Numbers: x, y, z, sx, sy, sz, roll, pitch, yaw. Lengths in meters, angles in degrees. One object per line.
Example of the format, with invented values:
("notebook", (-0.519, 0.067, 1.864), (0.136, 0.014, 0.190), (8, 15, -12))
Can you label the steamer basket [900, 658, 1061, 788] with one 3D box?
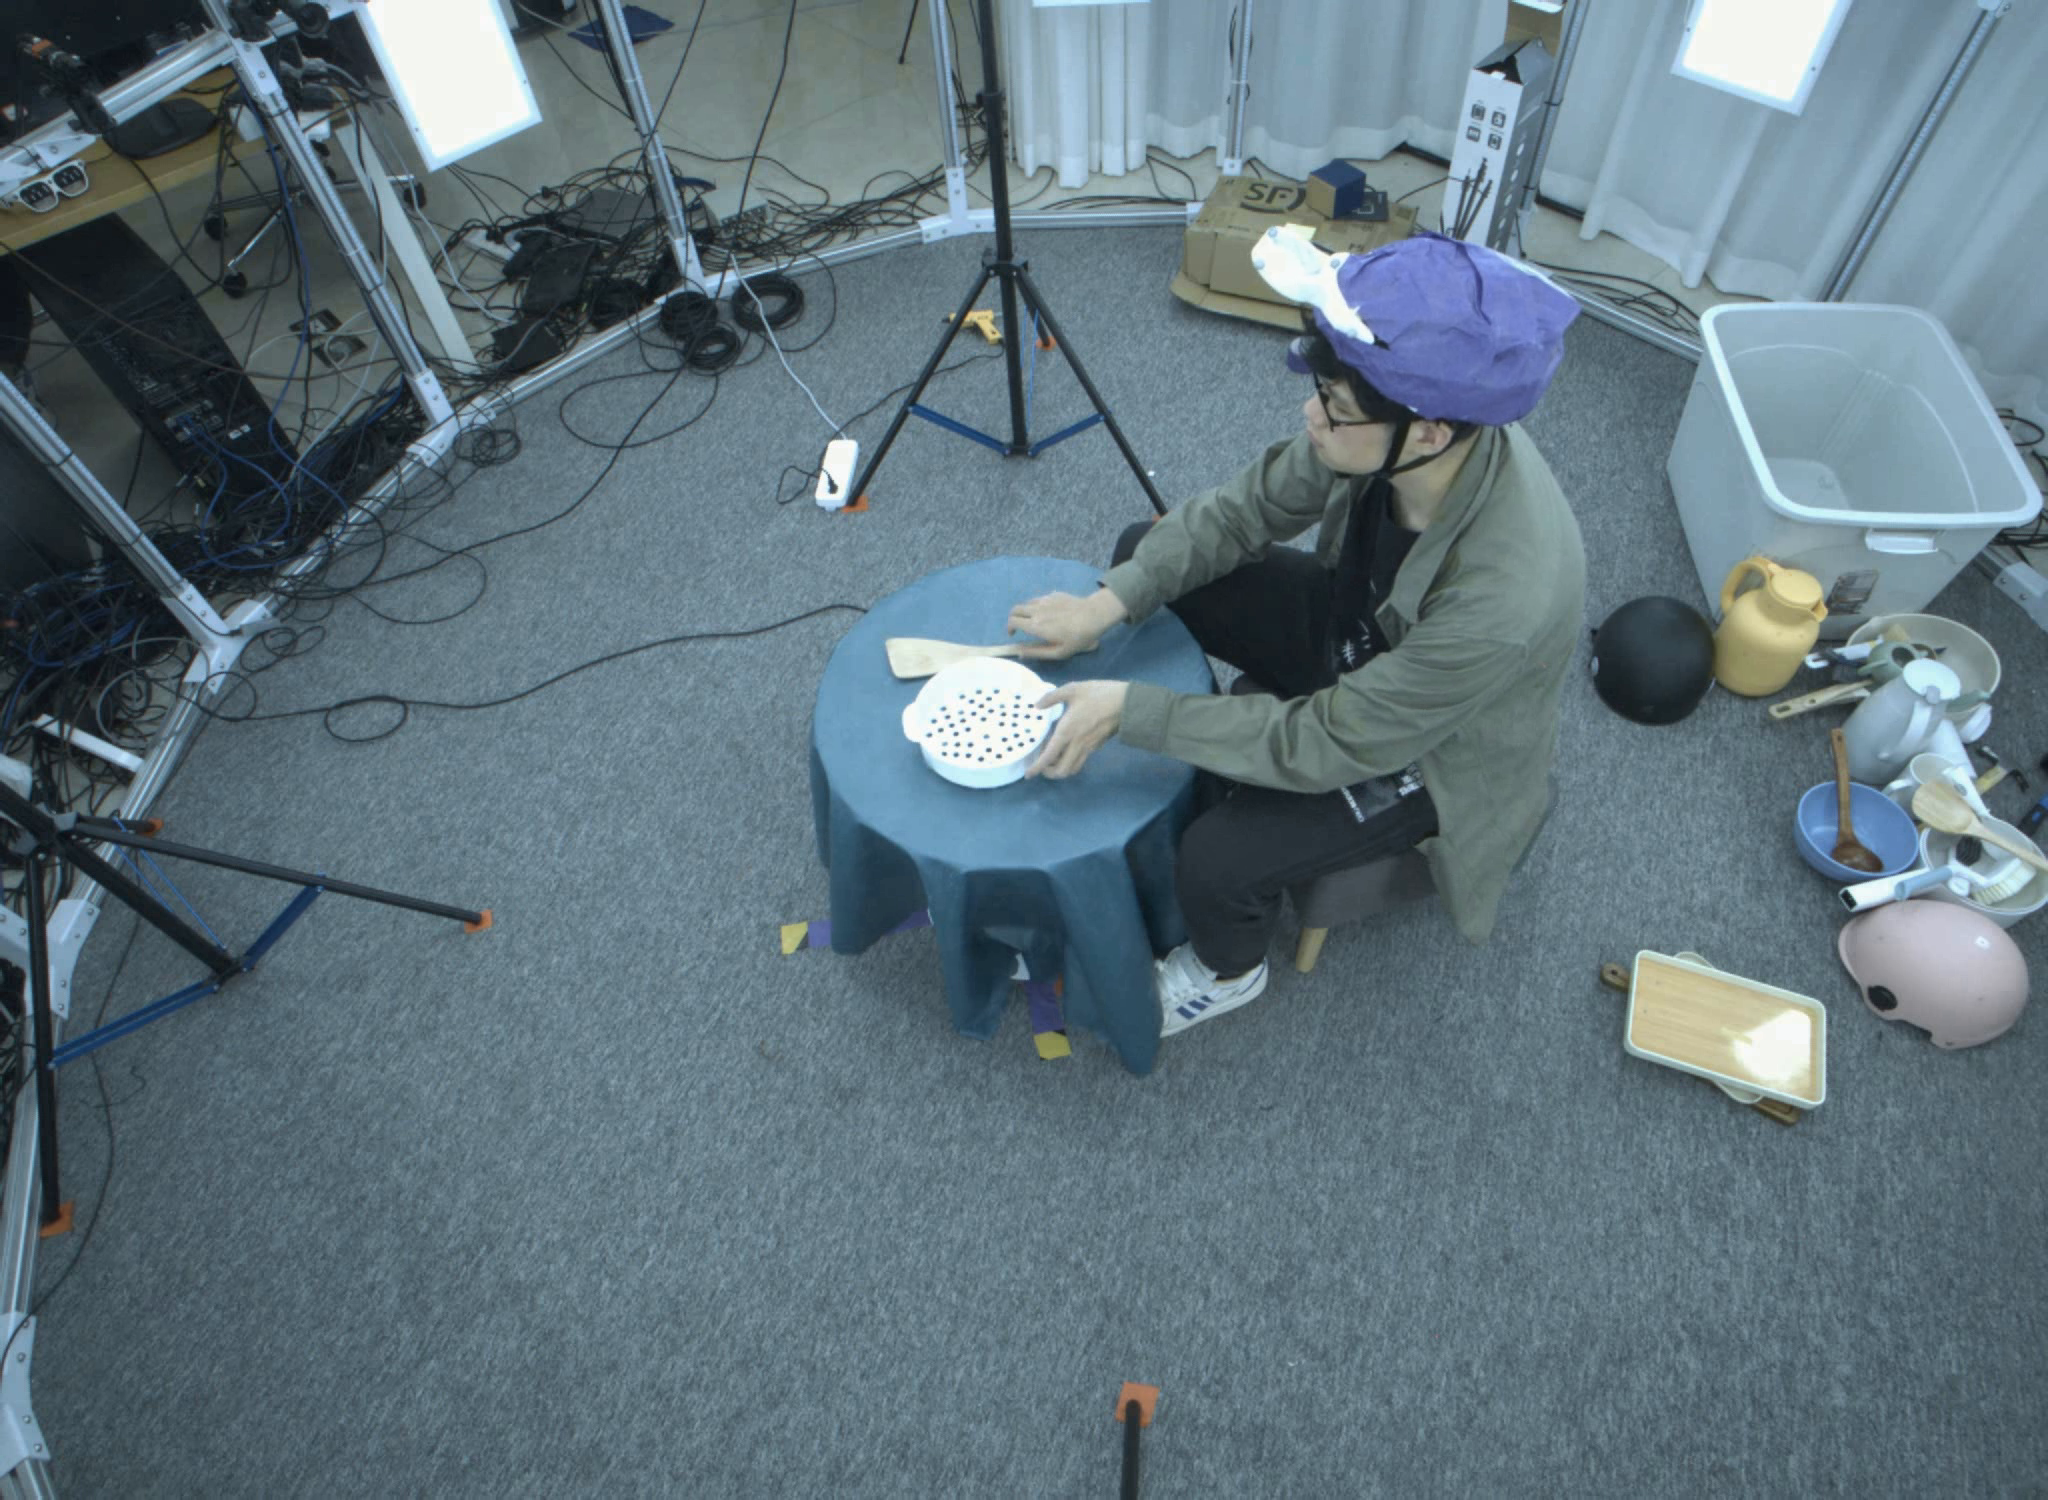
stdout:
("steamer basket", (-0.062, -0.037, 1.781), (0.231, 0.070, 0.199), (-8, 55, -5))

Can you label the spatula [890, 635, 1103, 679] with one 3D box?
("spatula", (-0.042, -0.153, 1.892), (0.328, 0.017, 0.079), (-6, 55, -2))
